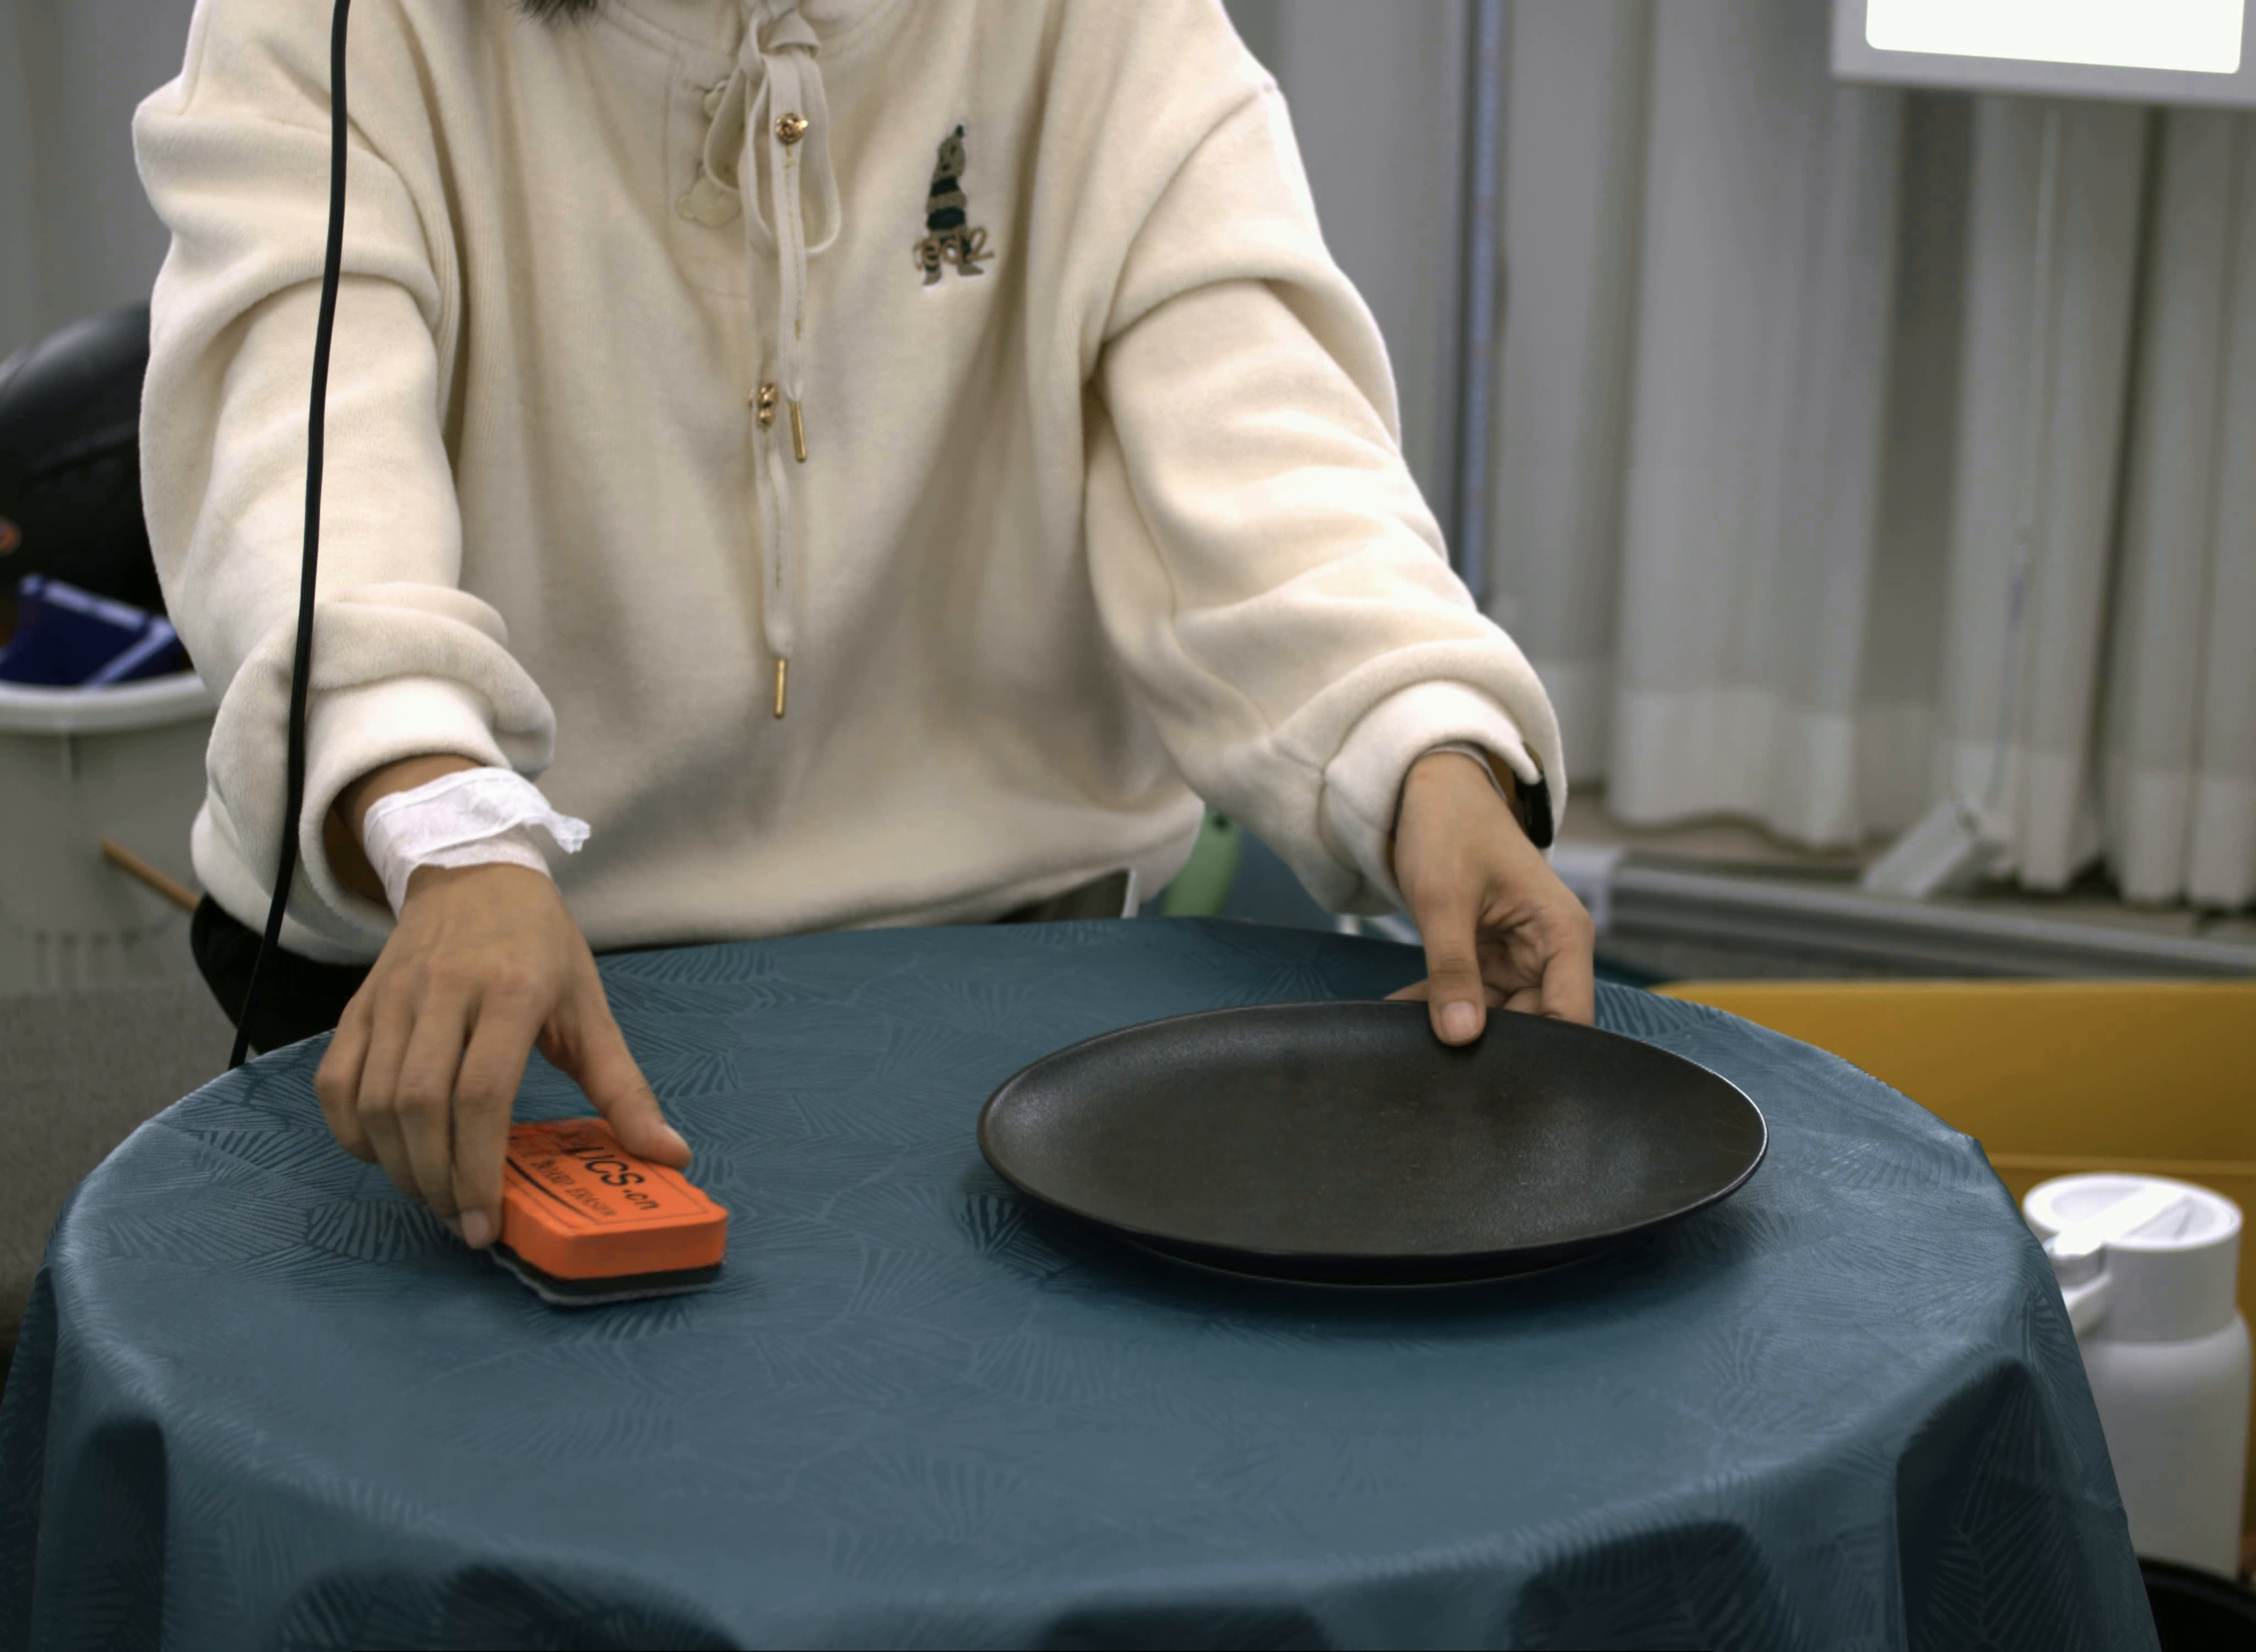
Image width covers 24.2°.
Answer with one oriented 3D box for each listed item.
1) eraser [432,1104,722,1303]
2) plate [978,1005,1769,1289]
[{"bbox_3d":[-0.164,0.111,1.562,0.059,0.023,0.106,-4,19,-26],"label":"eraser"},{"bbox_3d":[0.075,0.100,1.623,0.243,0.023,0.243,0,15,0],"label":"plate"}]
